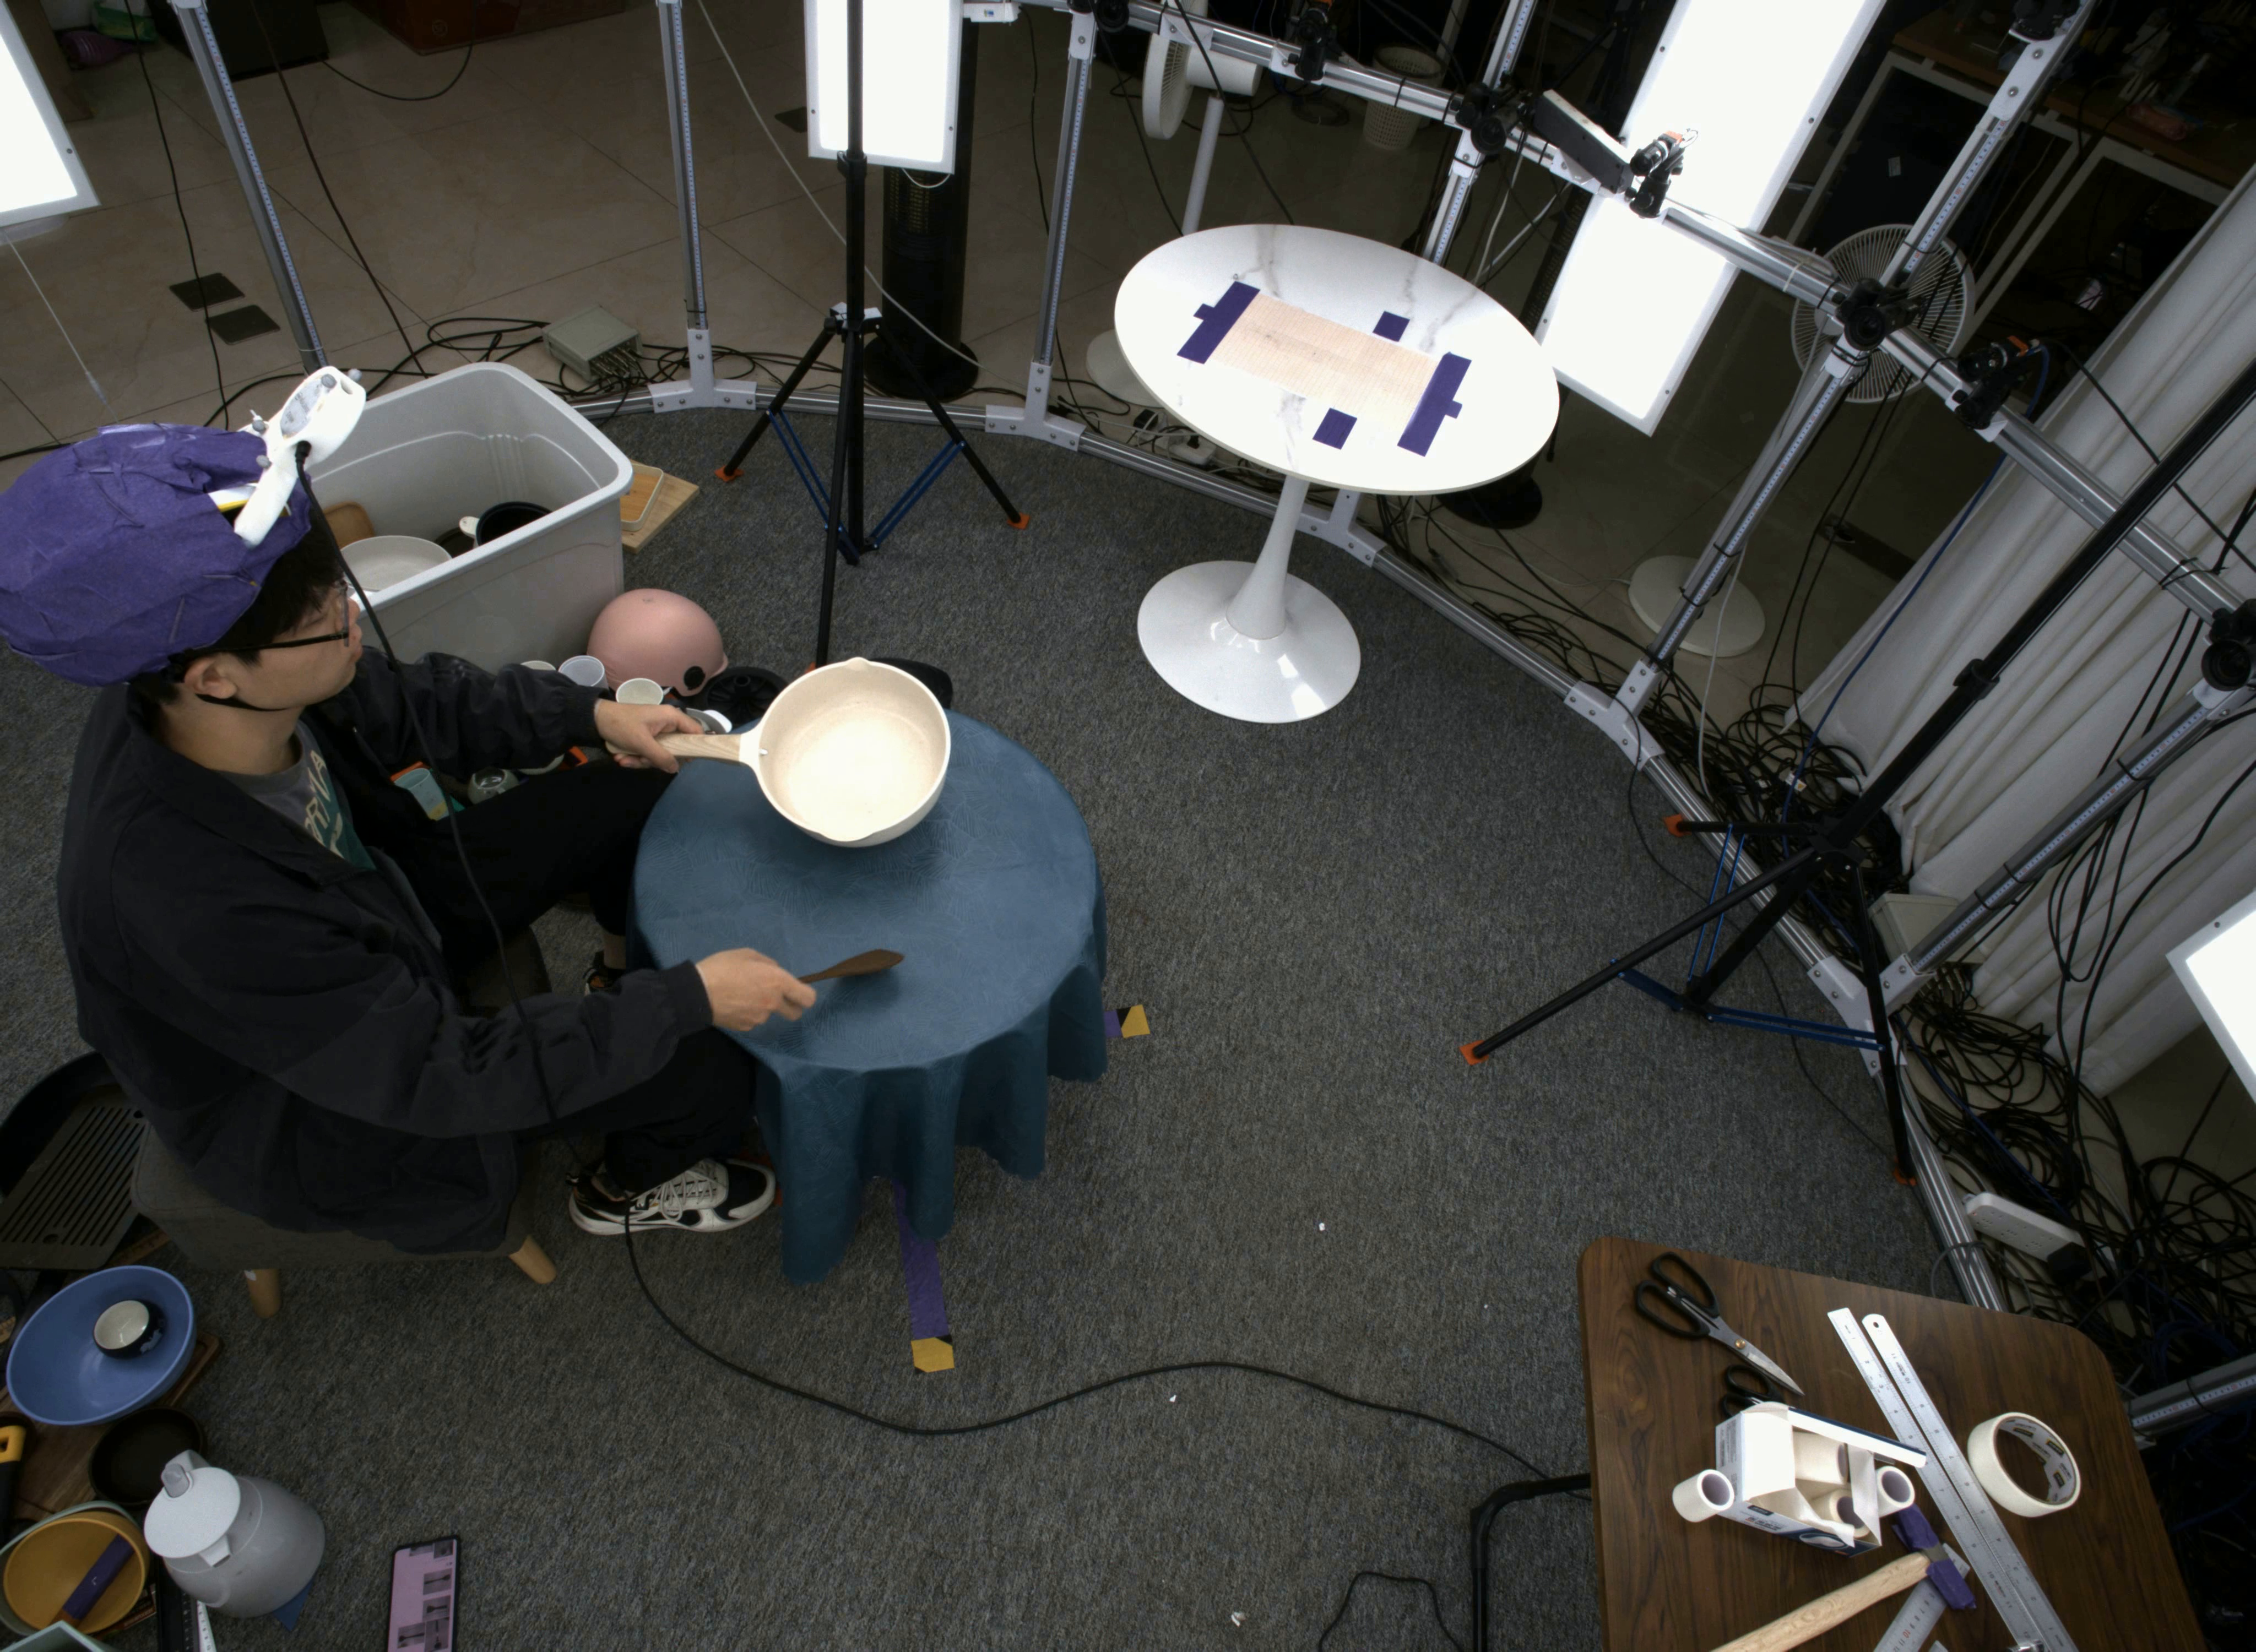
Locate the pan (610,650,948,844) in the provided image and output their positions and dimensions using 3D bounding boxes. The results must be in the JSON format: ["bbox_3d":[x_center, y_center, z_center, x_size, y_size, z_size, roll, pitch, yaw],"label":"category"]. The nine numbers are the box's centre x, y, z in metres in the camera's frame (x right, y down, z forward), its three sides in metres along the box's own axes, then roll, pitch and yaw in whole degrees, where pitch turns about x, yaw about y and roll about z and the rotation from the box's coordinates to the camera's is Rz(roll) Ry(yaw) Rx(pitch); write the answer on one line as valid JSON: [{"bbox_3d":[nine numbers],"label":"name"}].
[{"bbox_3d":[-0.446,-0.093,1.680,0.431,0.103,0.261,-2,70,-4],"label":"pan"}]

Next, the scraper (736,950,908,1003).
[{"bbox_3d":[-0.363,0.177,1.539,0.214,0.073,0.011,-14,100,-40],"label":"scraper"}]
